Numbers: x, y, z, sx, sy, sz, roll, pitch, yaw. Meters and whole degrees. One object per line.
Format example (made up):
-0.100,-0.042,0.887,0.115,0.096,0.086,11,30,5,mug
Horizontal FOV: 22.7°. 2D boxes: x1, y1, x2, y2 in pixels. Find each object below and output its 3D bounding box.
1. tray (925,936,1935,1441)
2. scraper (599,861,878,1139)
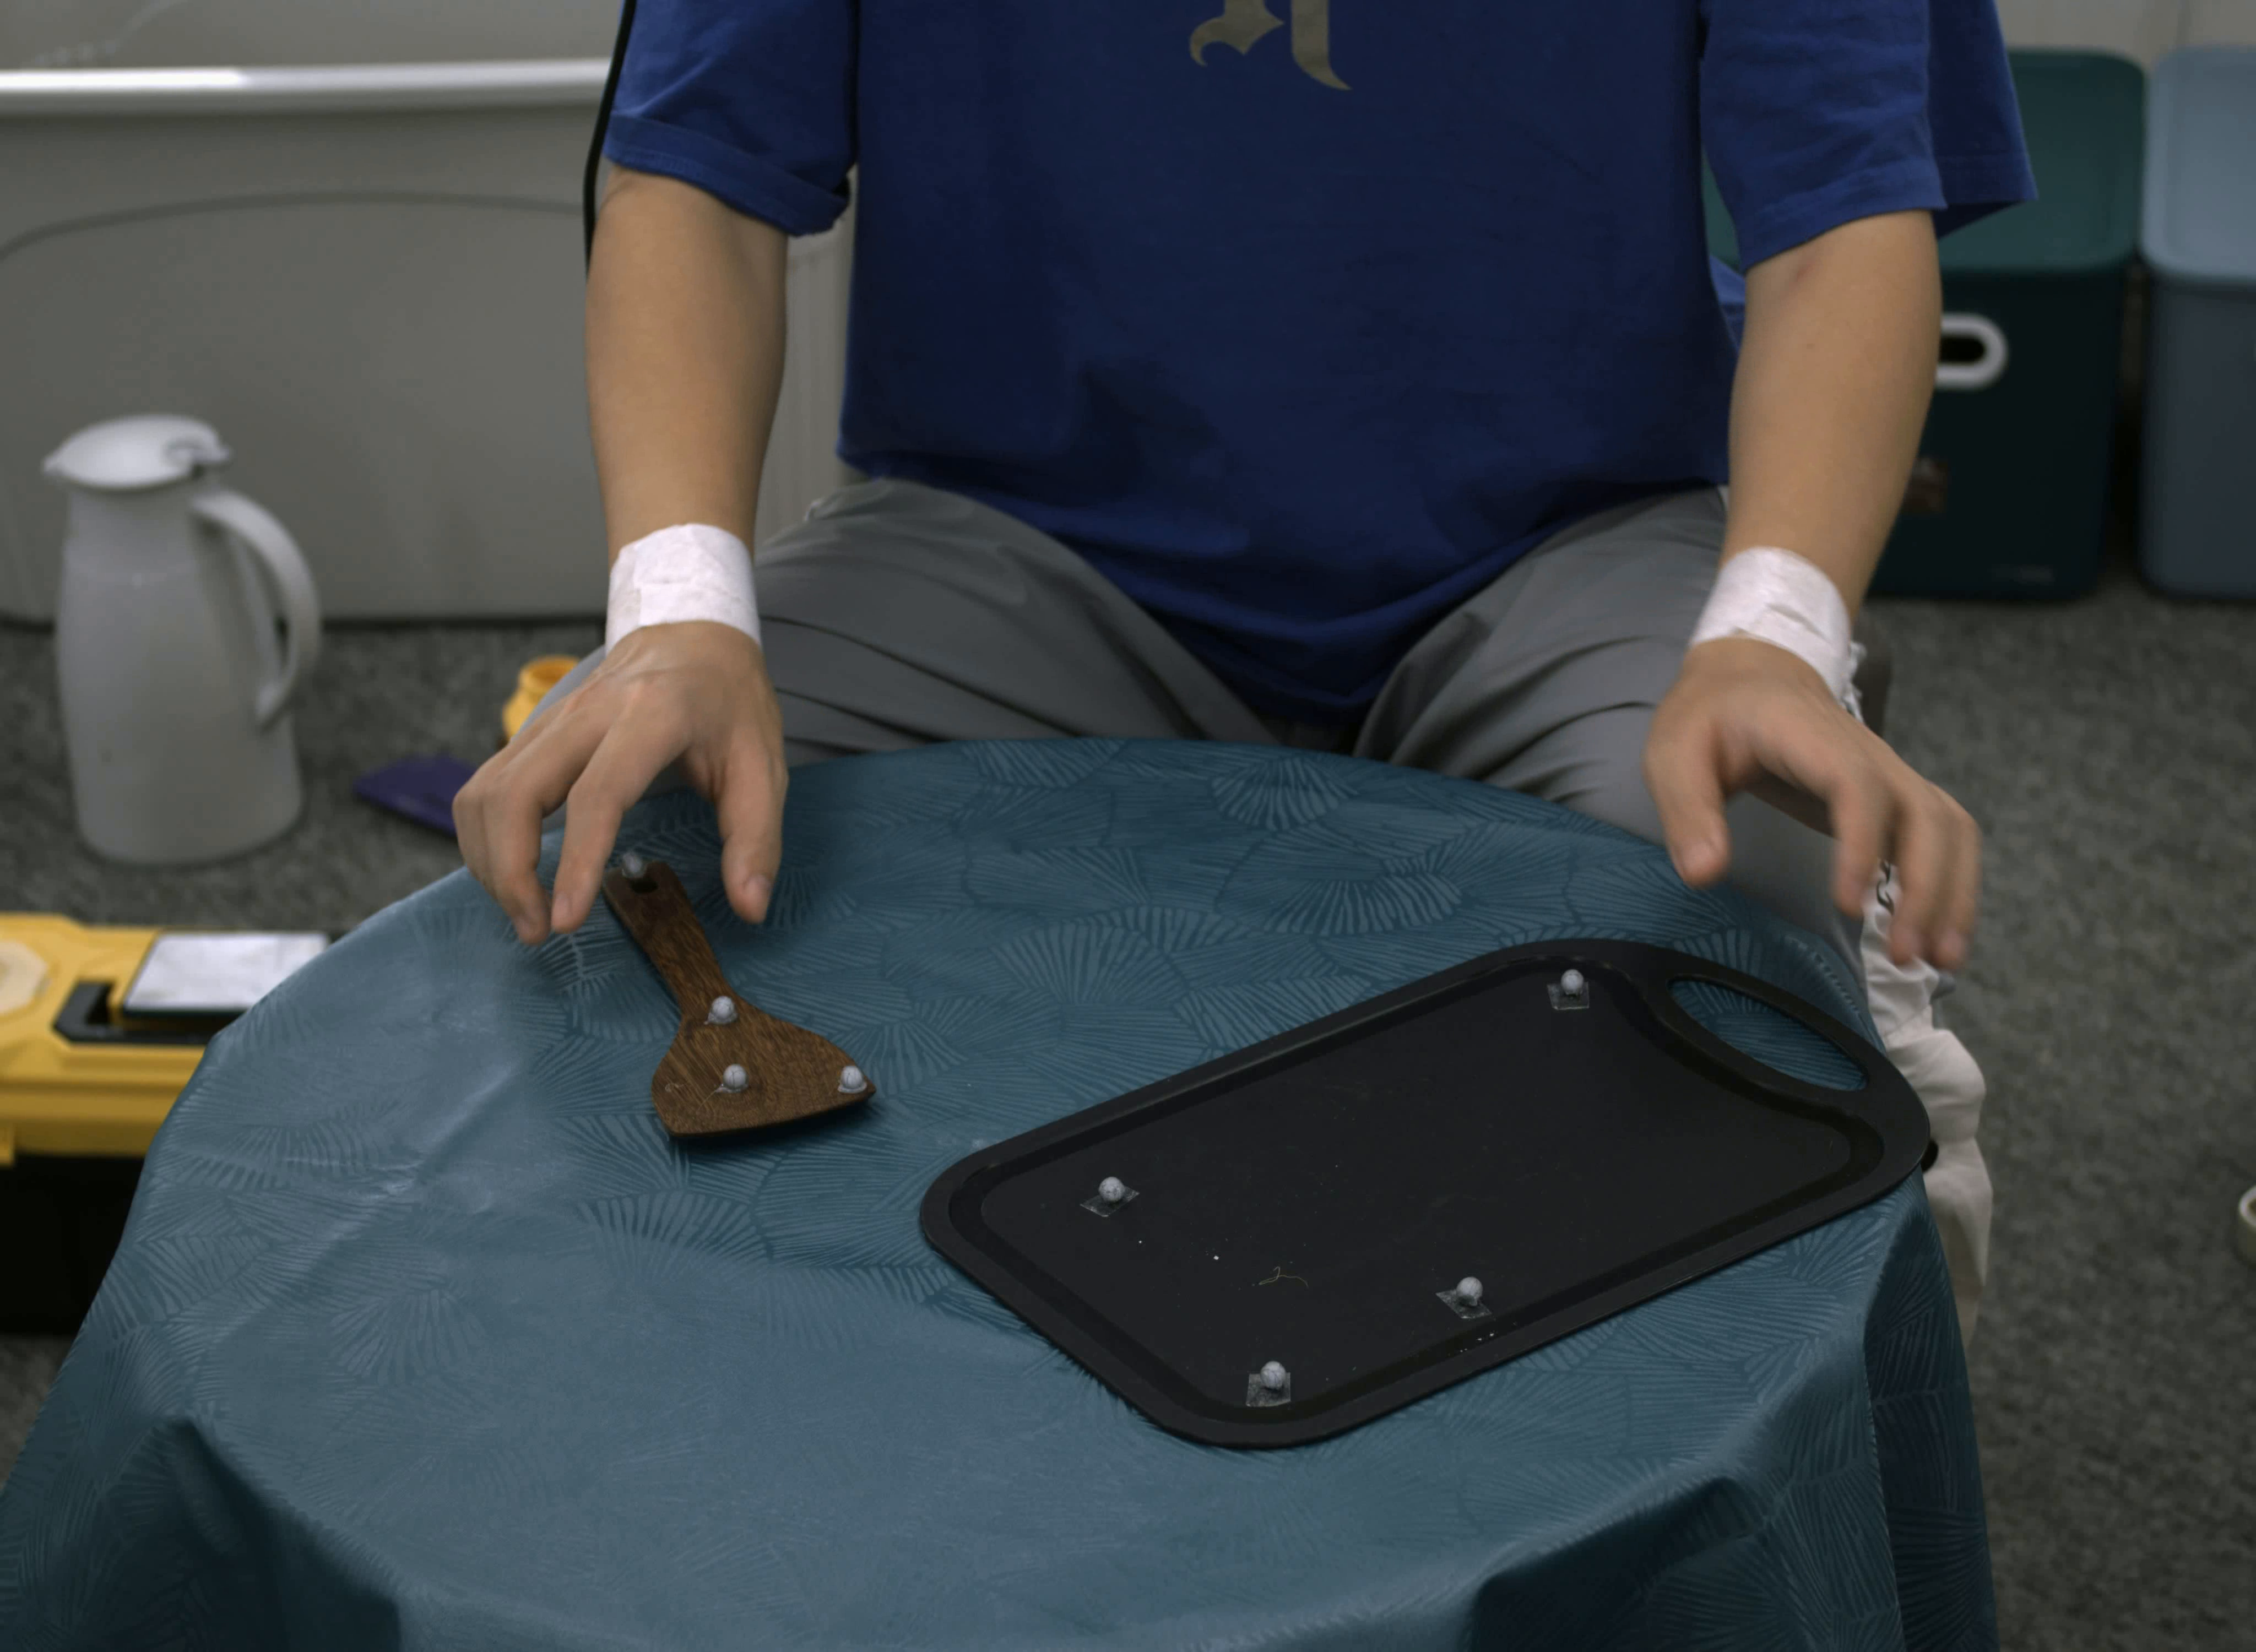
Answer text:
0.106,0.110,1.865,0.328,0.009,0.211,-19,31,-29,tray
-0.150,0.060,1.986,0.076,0.011,0.213,-10,28,-15,scraper
